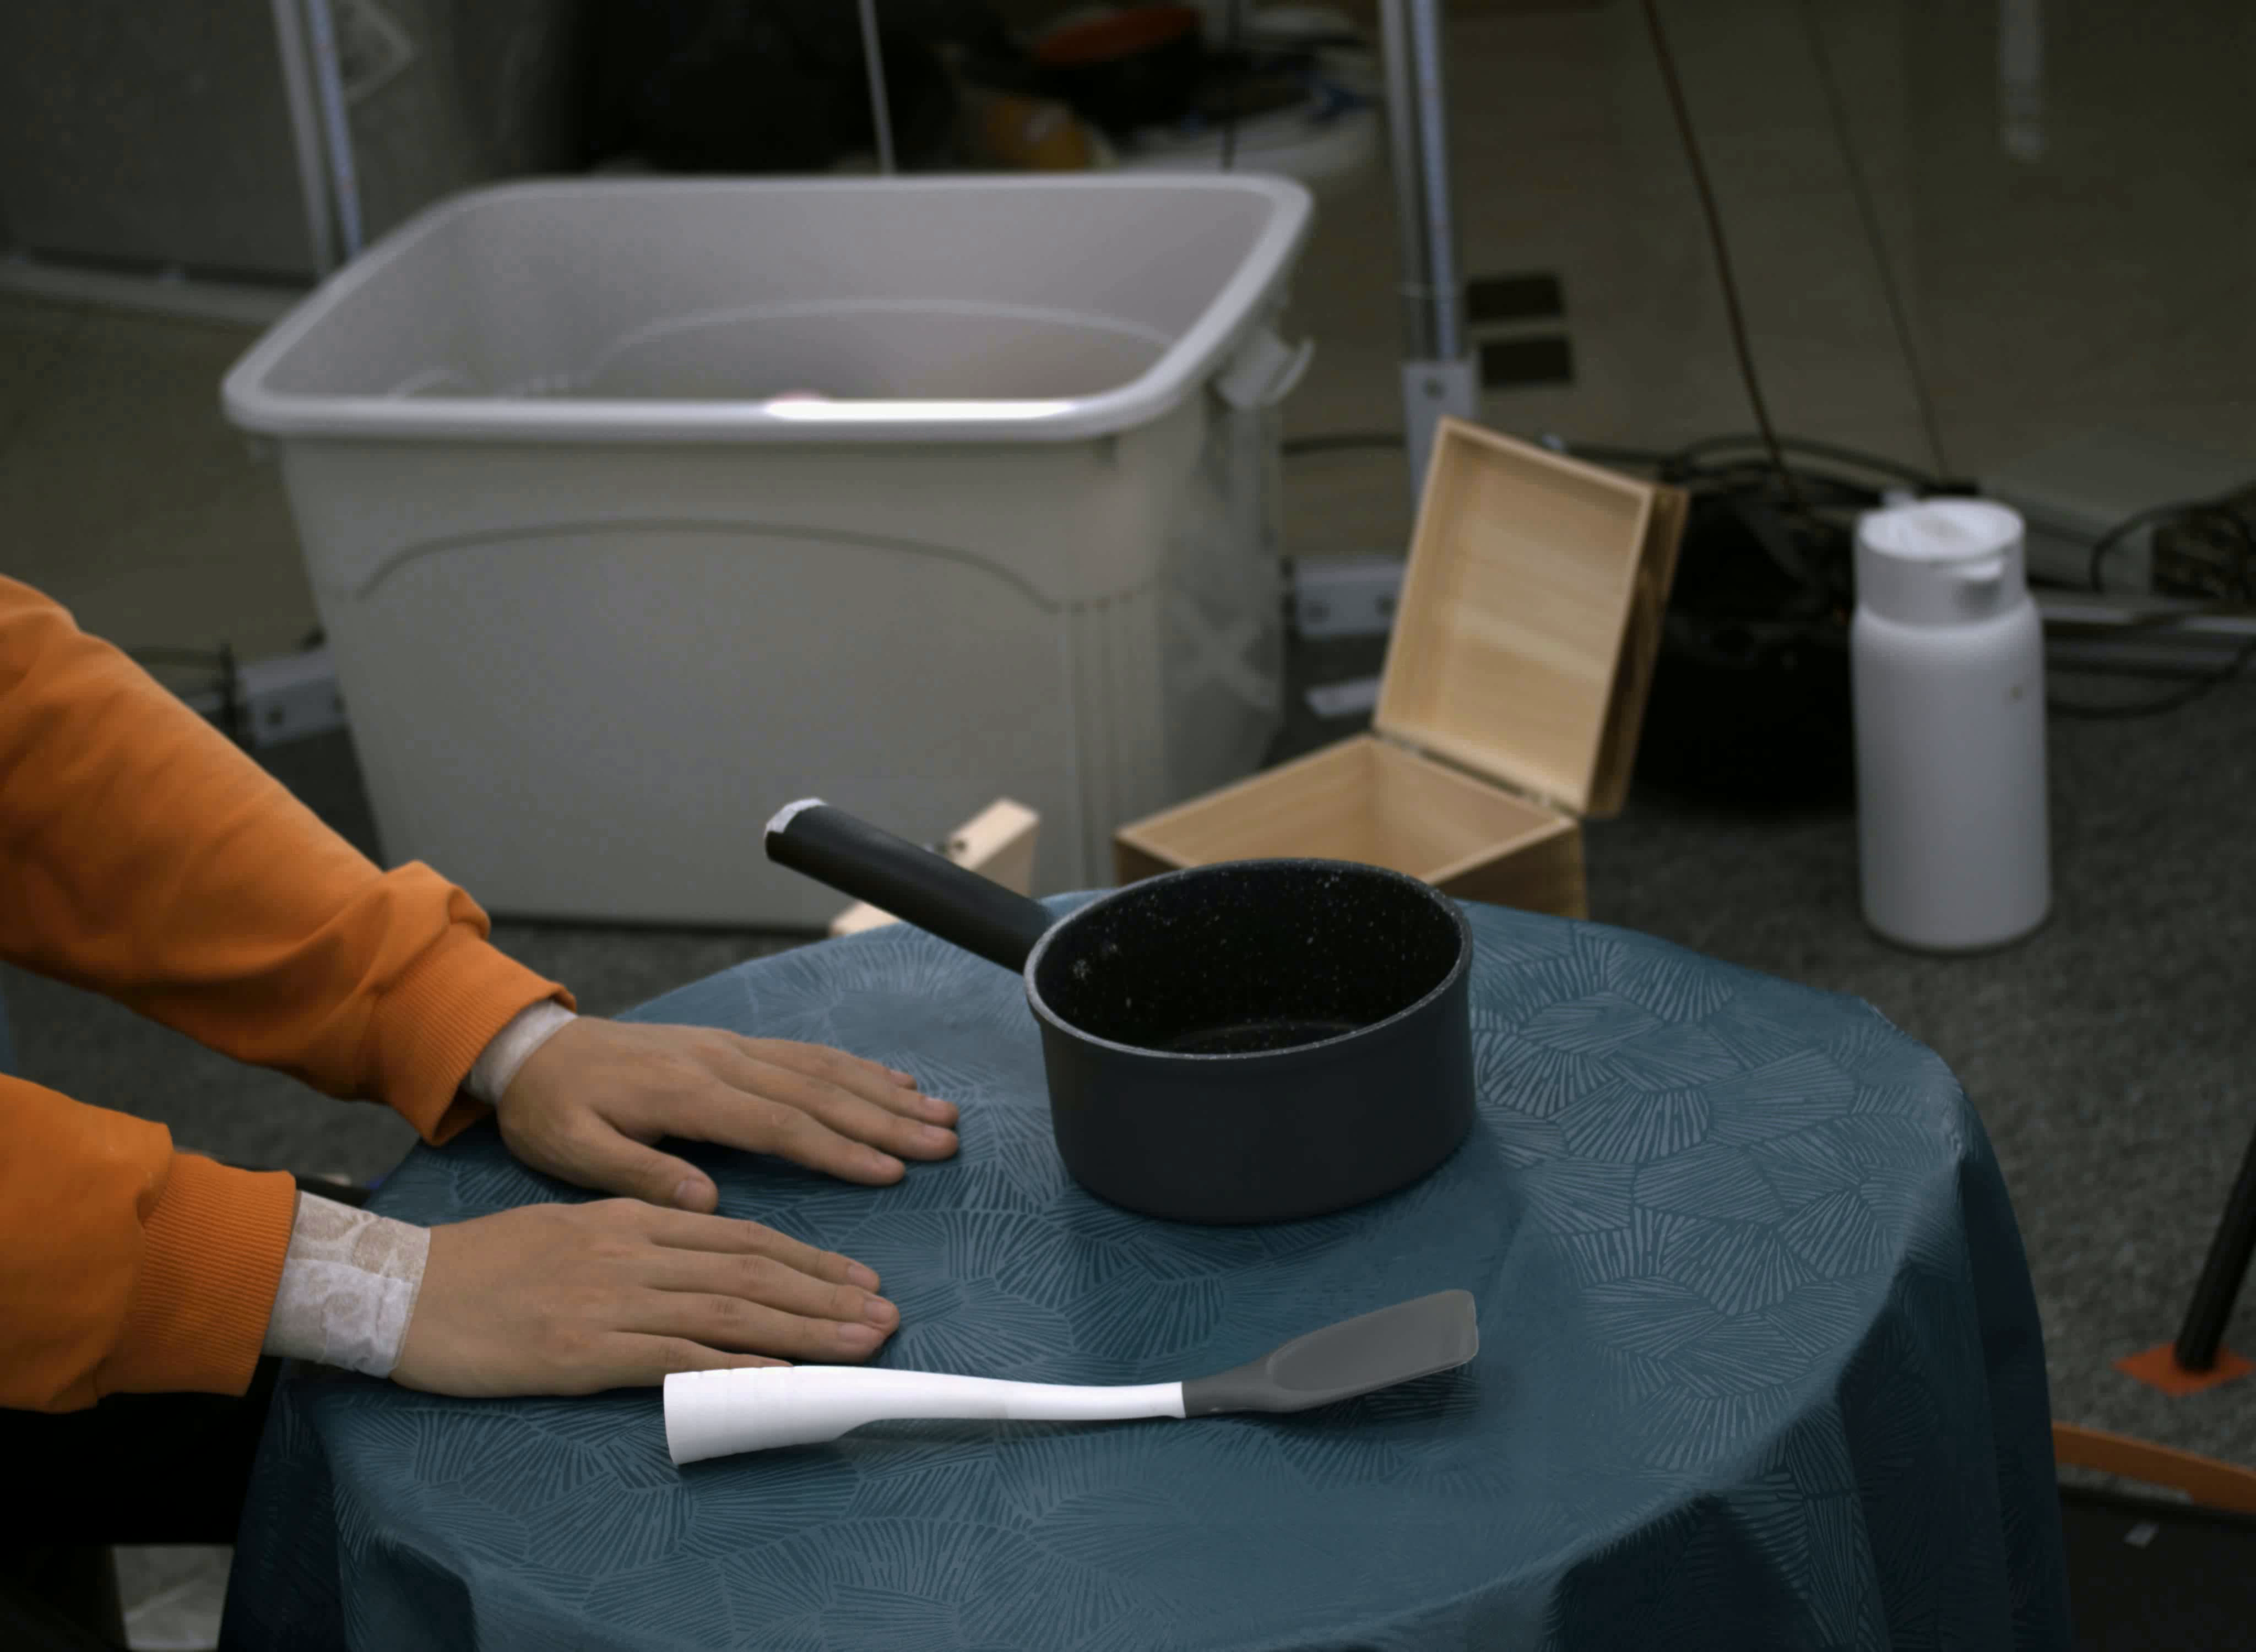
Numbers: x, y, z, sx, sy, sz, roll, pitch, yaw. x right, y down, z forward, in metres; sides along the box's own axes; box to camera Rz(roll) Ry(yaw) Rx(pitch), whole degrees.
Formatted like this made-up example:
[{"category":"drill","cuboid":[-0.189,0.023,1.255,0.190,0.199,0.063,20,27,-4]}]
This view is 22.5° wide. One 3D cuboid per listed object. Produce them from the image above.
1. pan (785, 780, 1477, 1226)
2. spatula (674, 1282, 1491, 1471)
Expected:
[{"category":"pan","cuboid":[-0.010,0.062,2.213,0.326,0.088,0.170,18,34,39]},{"category":"spatula","cuboid":[-0.015,0.196,1.992,0.287,0.033,0.058,-6,22,3]}]
